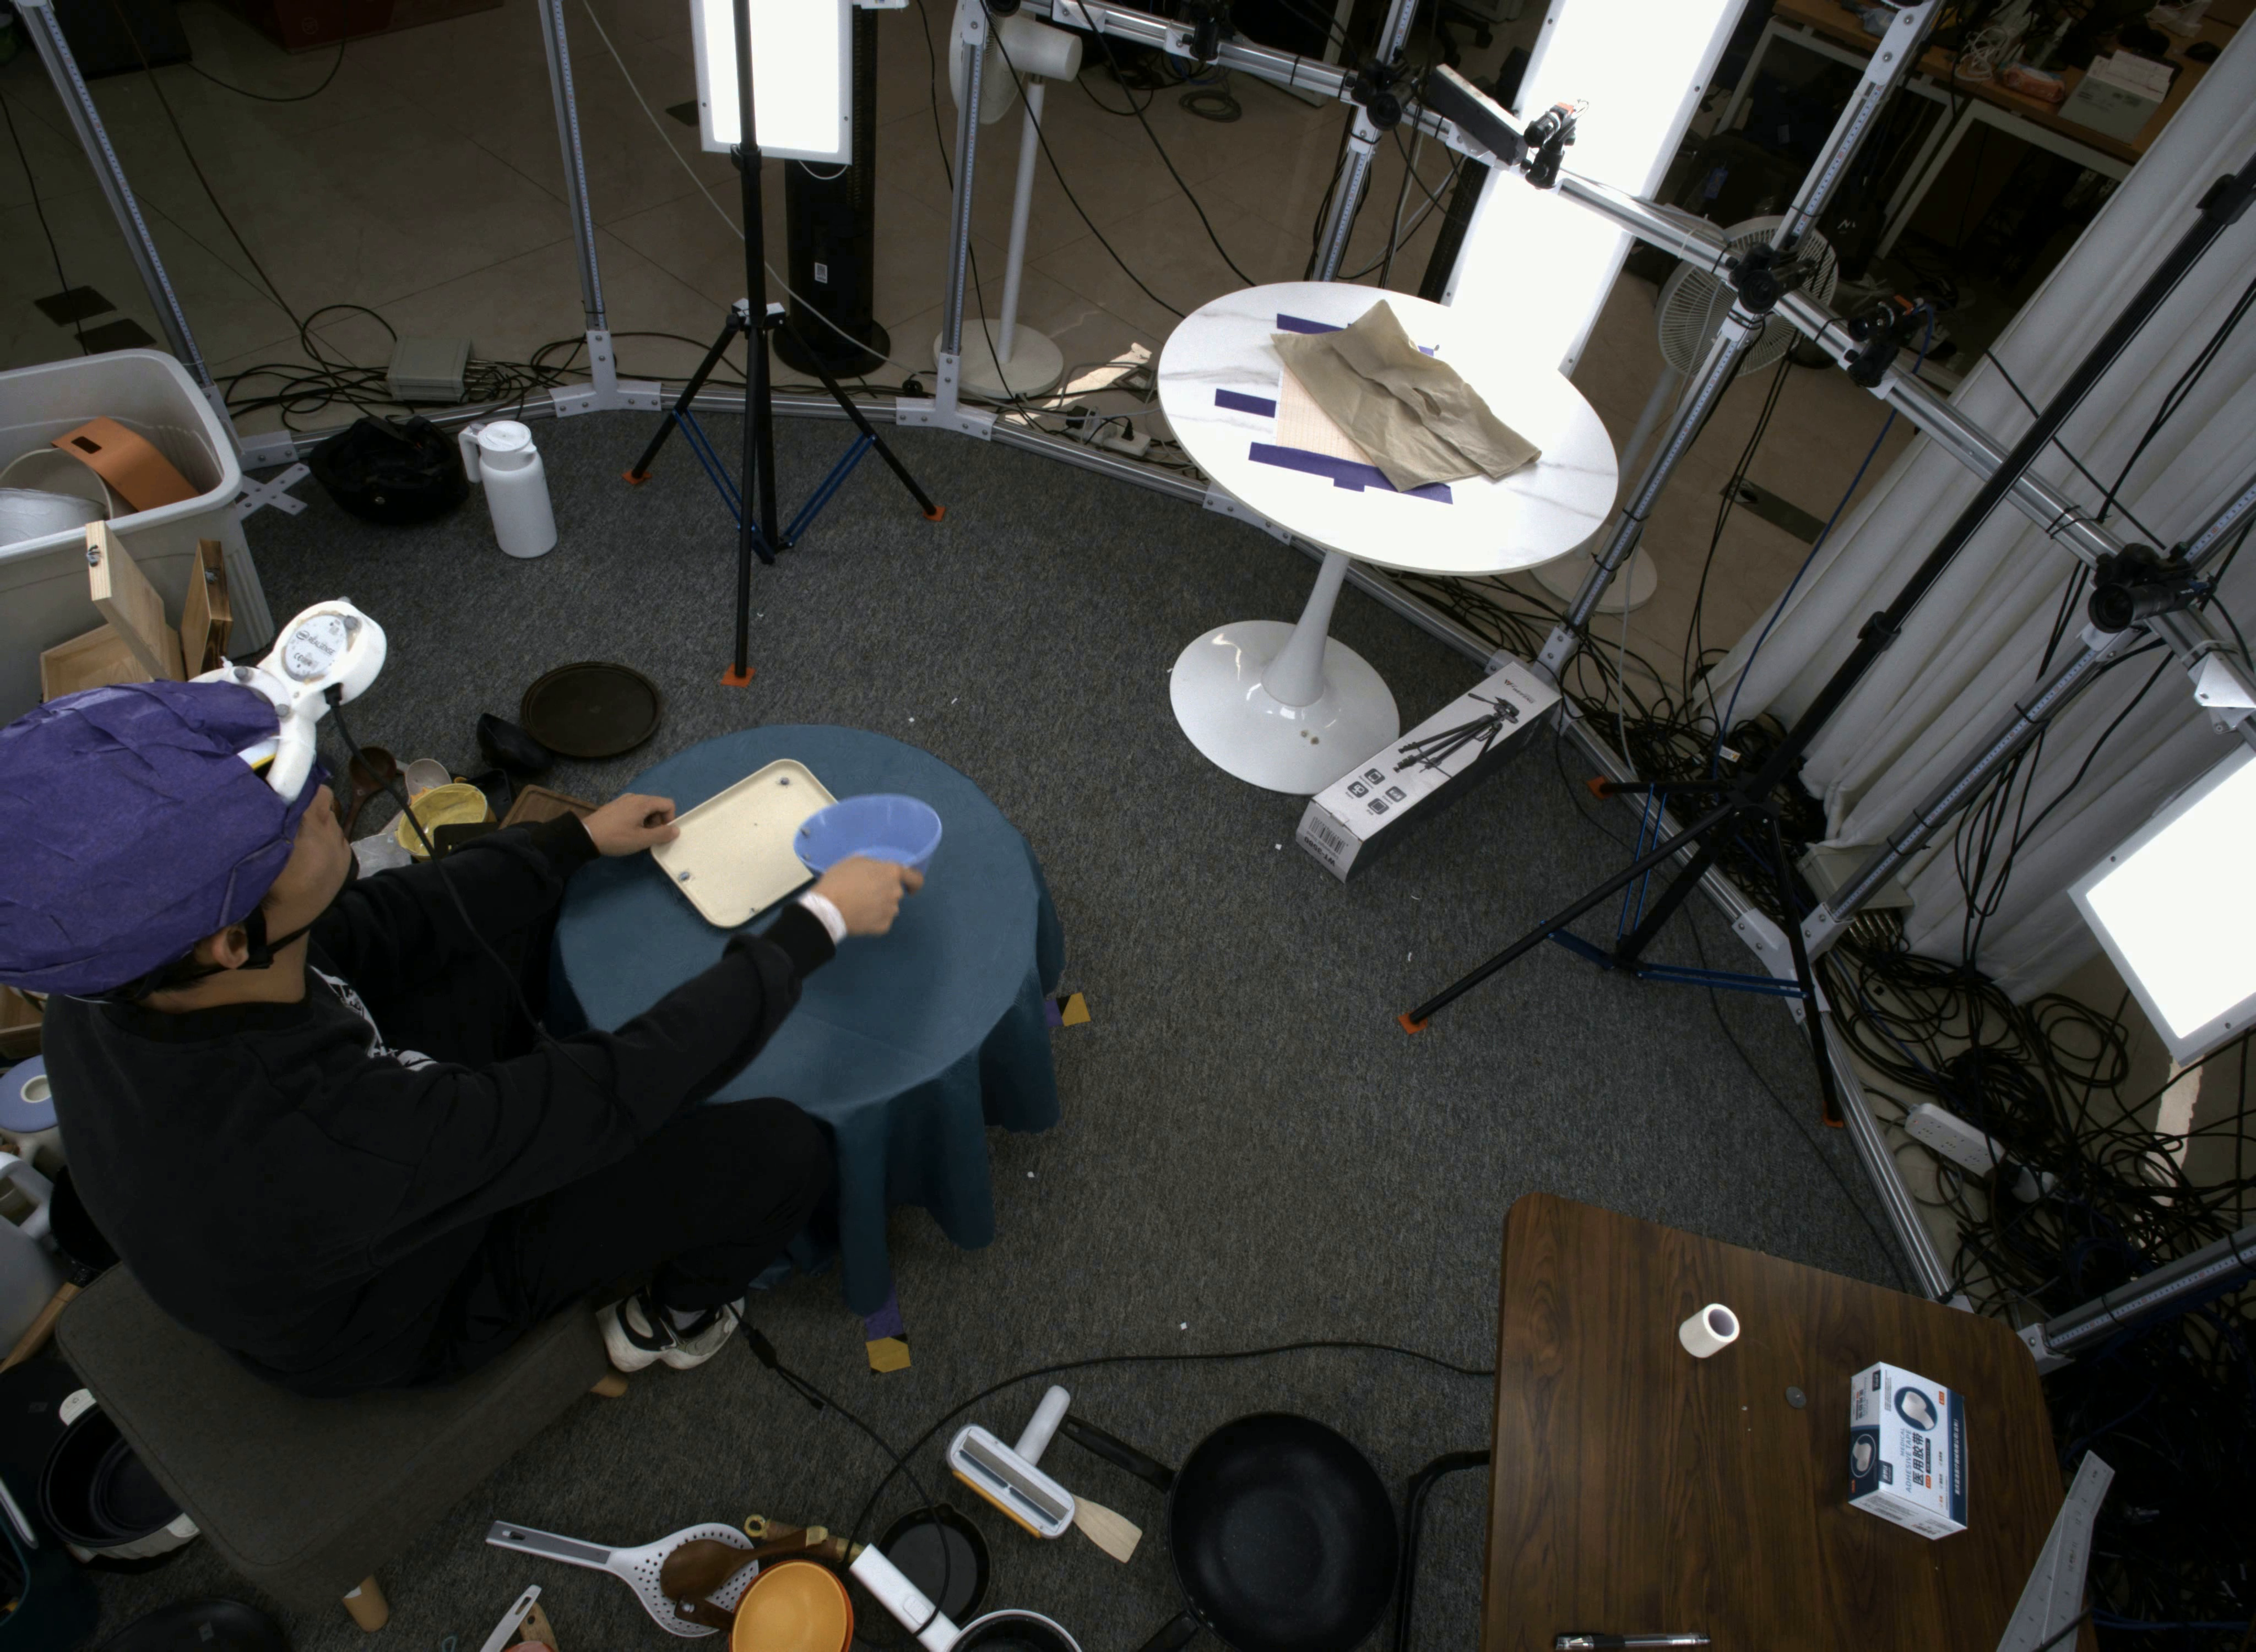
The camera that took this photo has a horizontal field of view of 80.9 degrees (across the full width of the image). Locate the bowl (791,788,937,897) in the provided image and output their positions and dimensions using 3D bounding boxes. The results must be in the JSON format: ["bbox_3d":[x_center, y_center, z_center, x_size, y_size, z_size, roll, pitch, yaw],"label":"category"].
[{"bbox_3d":[-0.312,0.025,1.565,0.174,0.073,0.172,-2,32,3],"label":"bowl"}]

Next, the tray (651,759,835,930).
[{"bbox_3d":[-0.479,0.020,1.676,0.169,0.017,0.240,45,56,10],"label":"tray"}]
